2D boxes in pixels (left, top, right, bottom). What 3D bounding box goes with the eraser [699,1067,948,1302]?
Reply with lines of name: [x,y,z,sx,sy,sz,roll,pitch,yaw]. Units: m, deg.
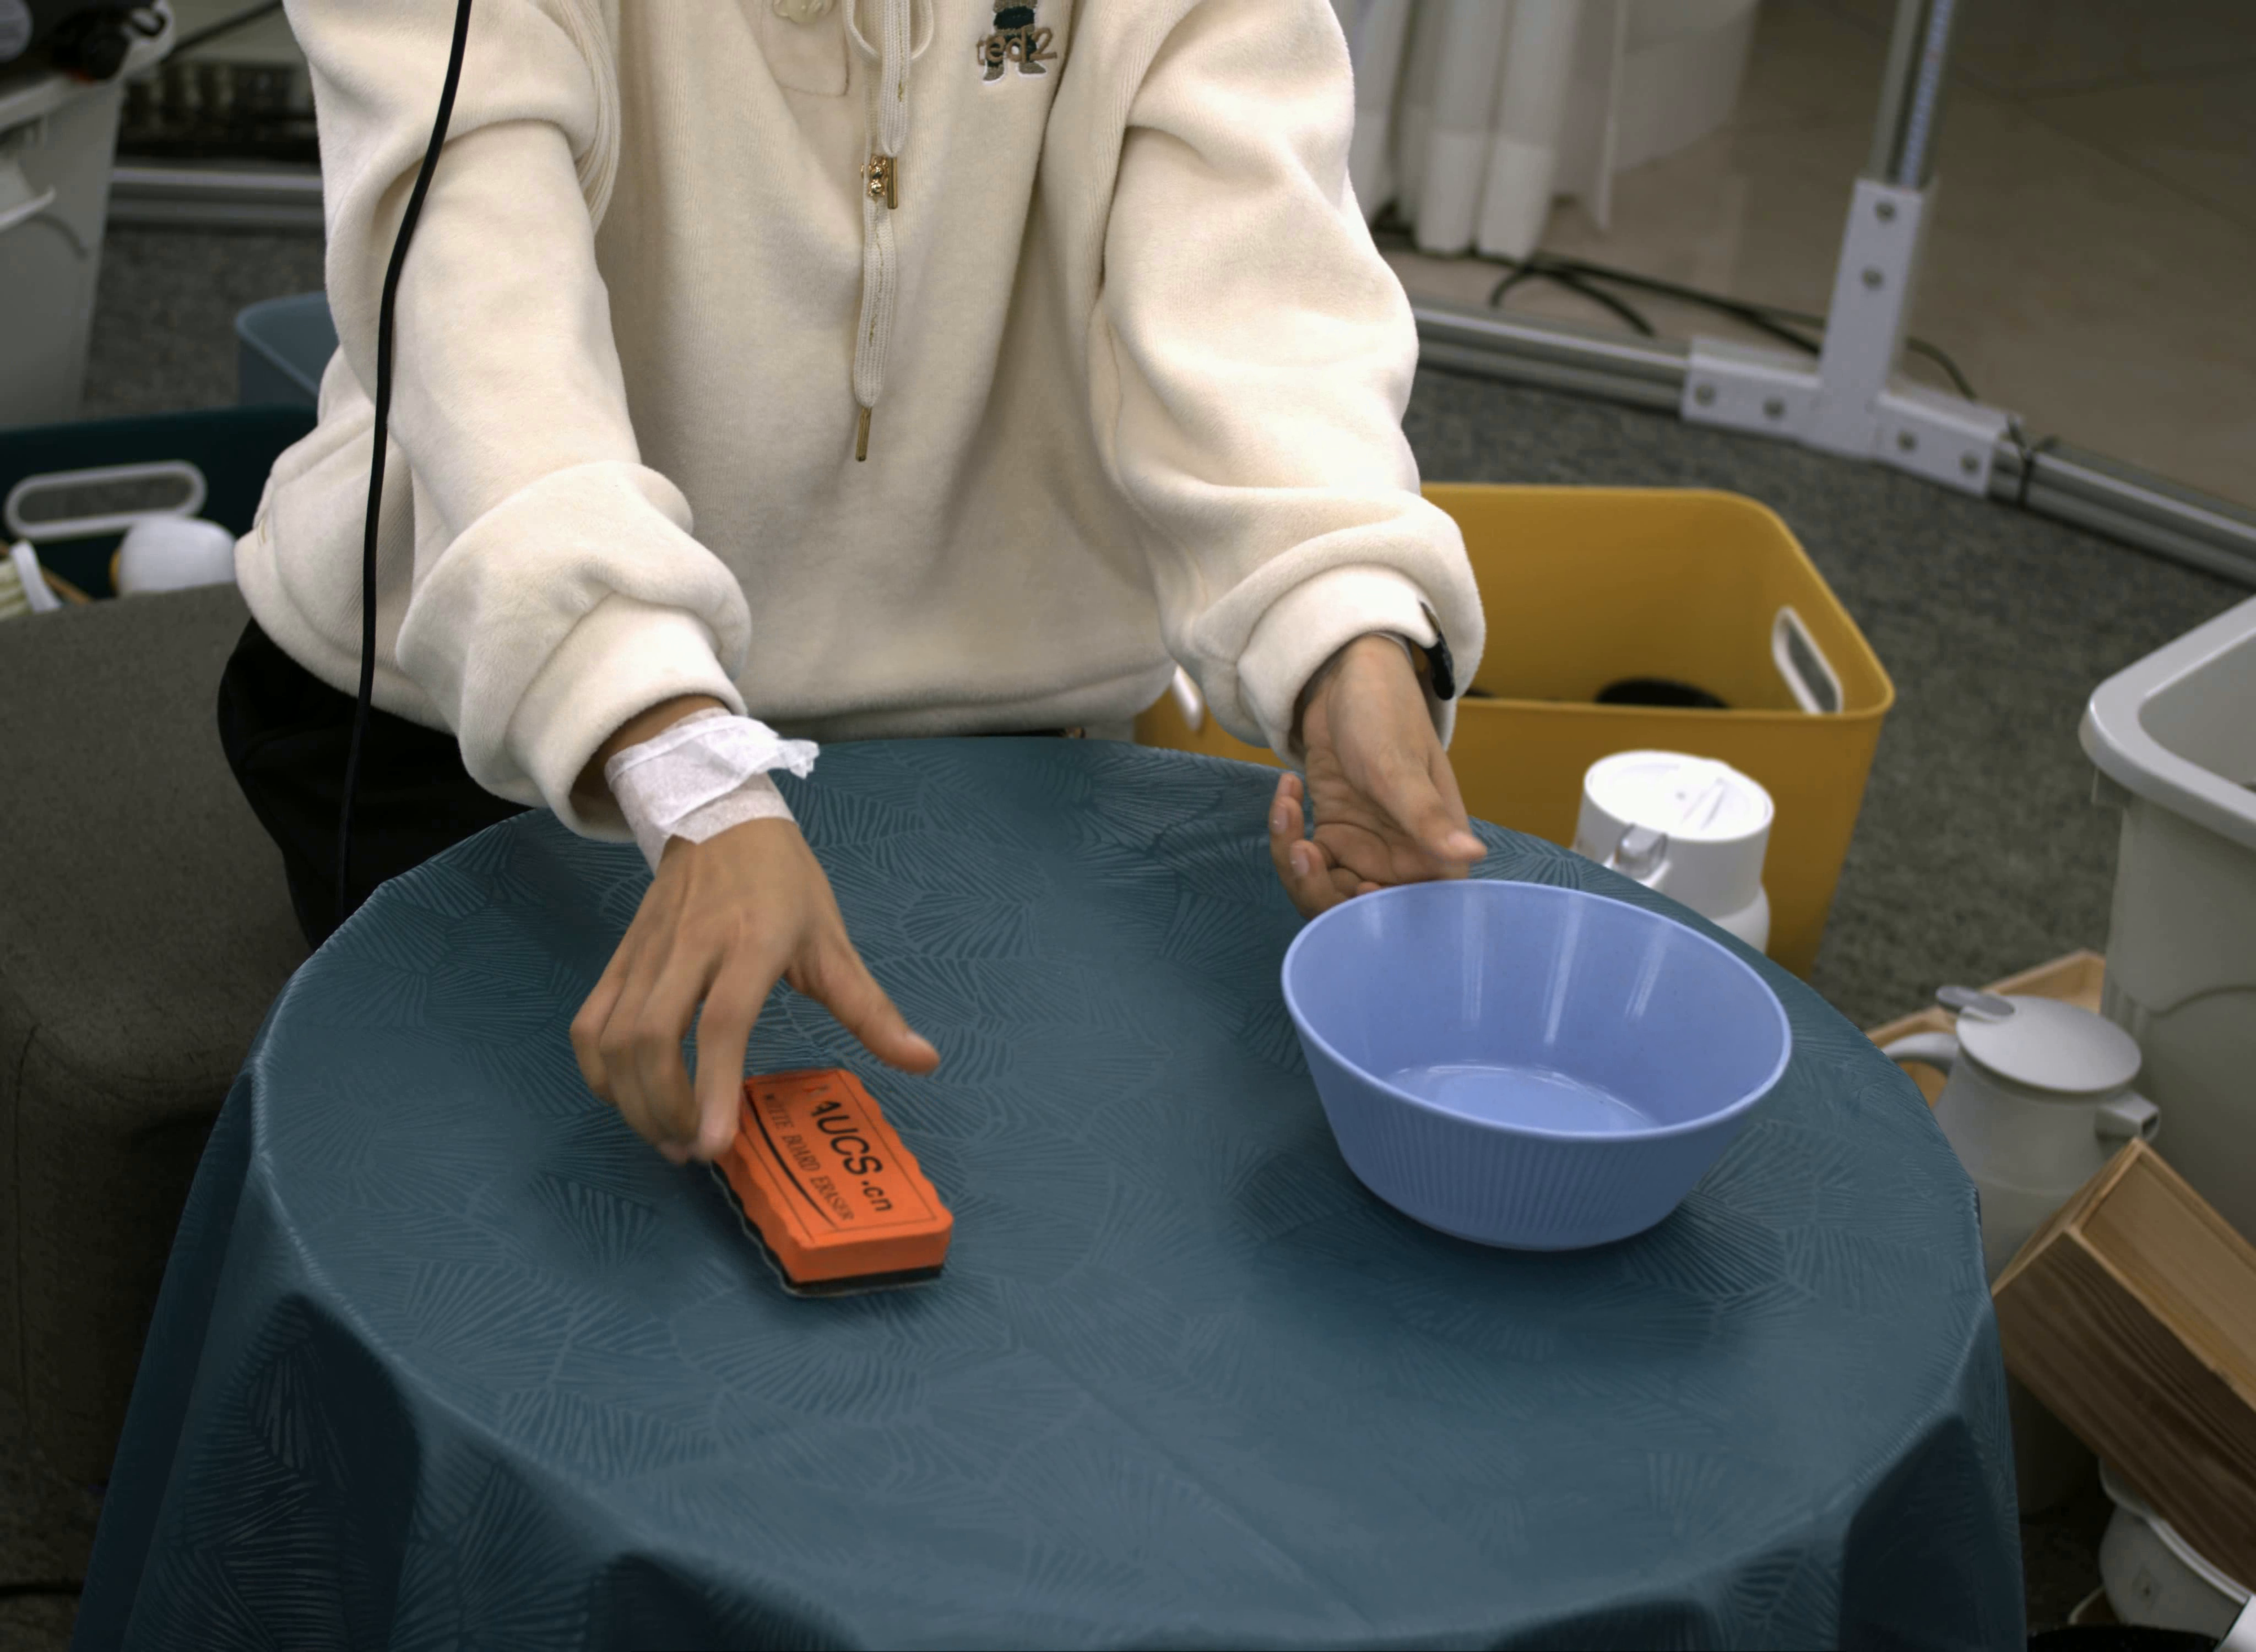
eraser: [-0.102,0.118,1.765,0.058,0.023,0.109,-7,30,-20]

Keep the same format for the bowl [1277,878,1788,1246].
bowl: [0.134,0.087,1.825,0.175,0.070,0.177,5,27,-3]
